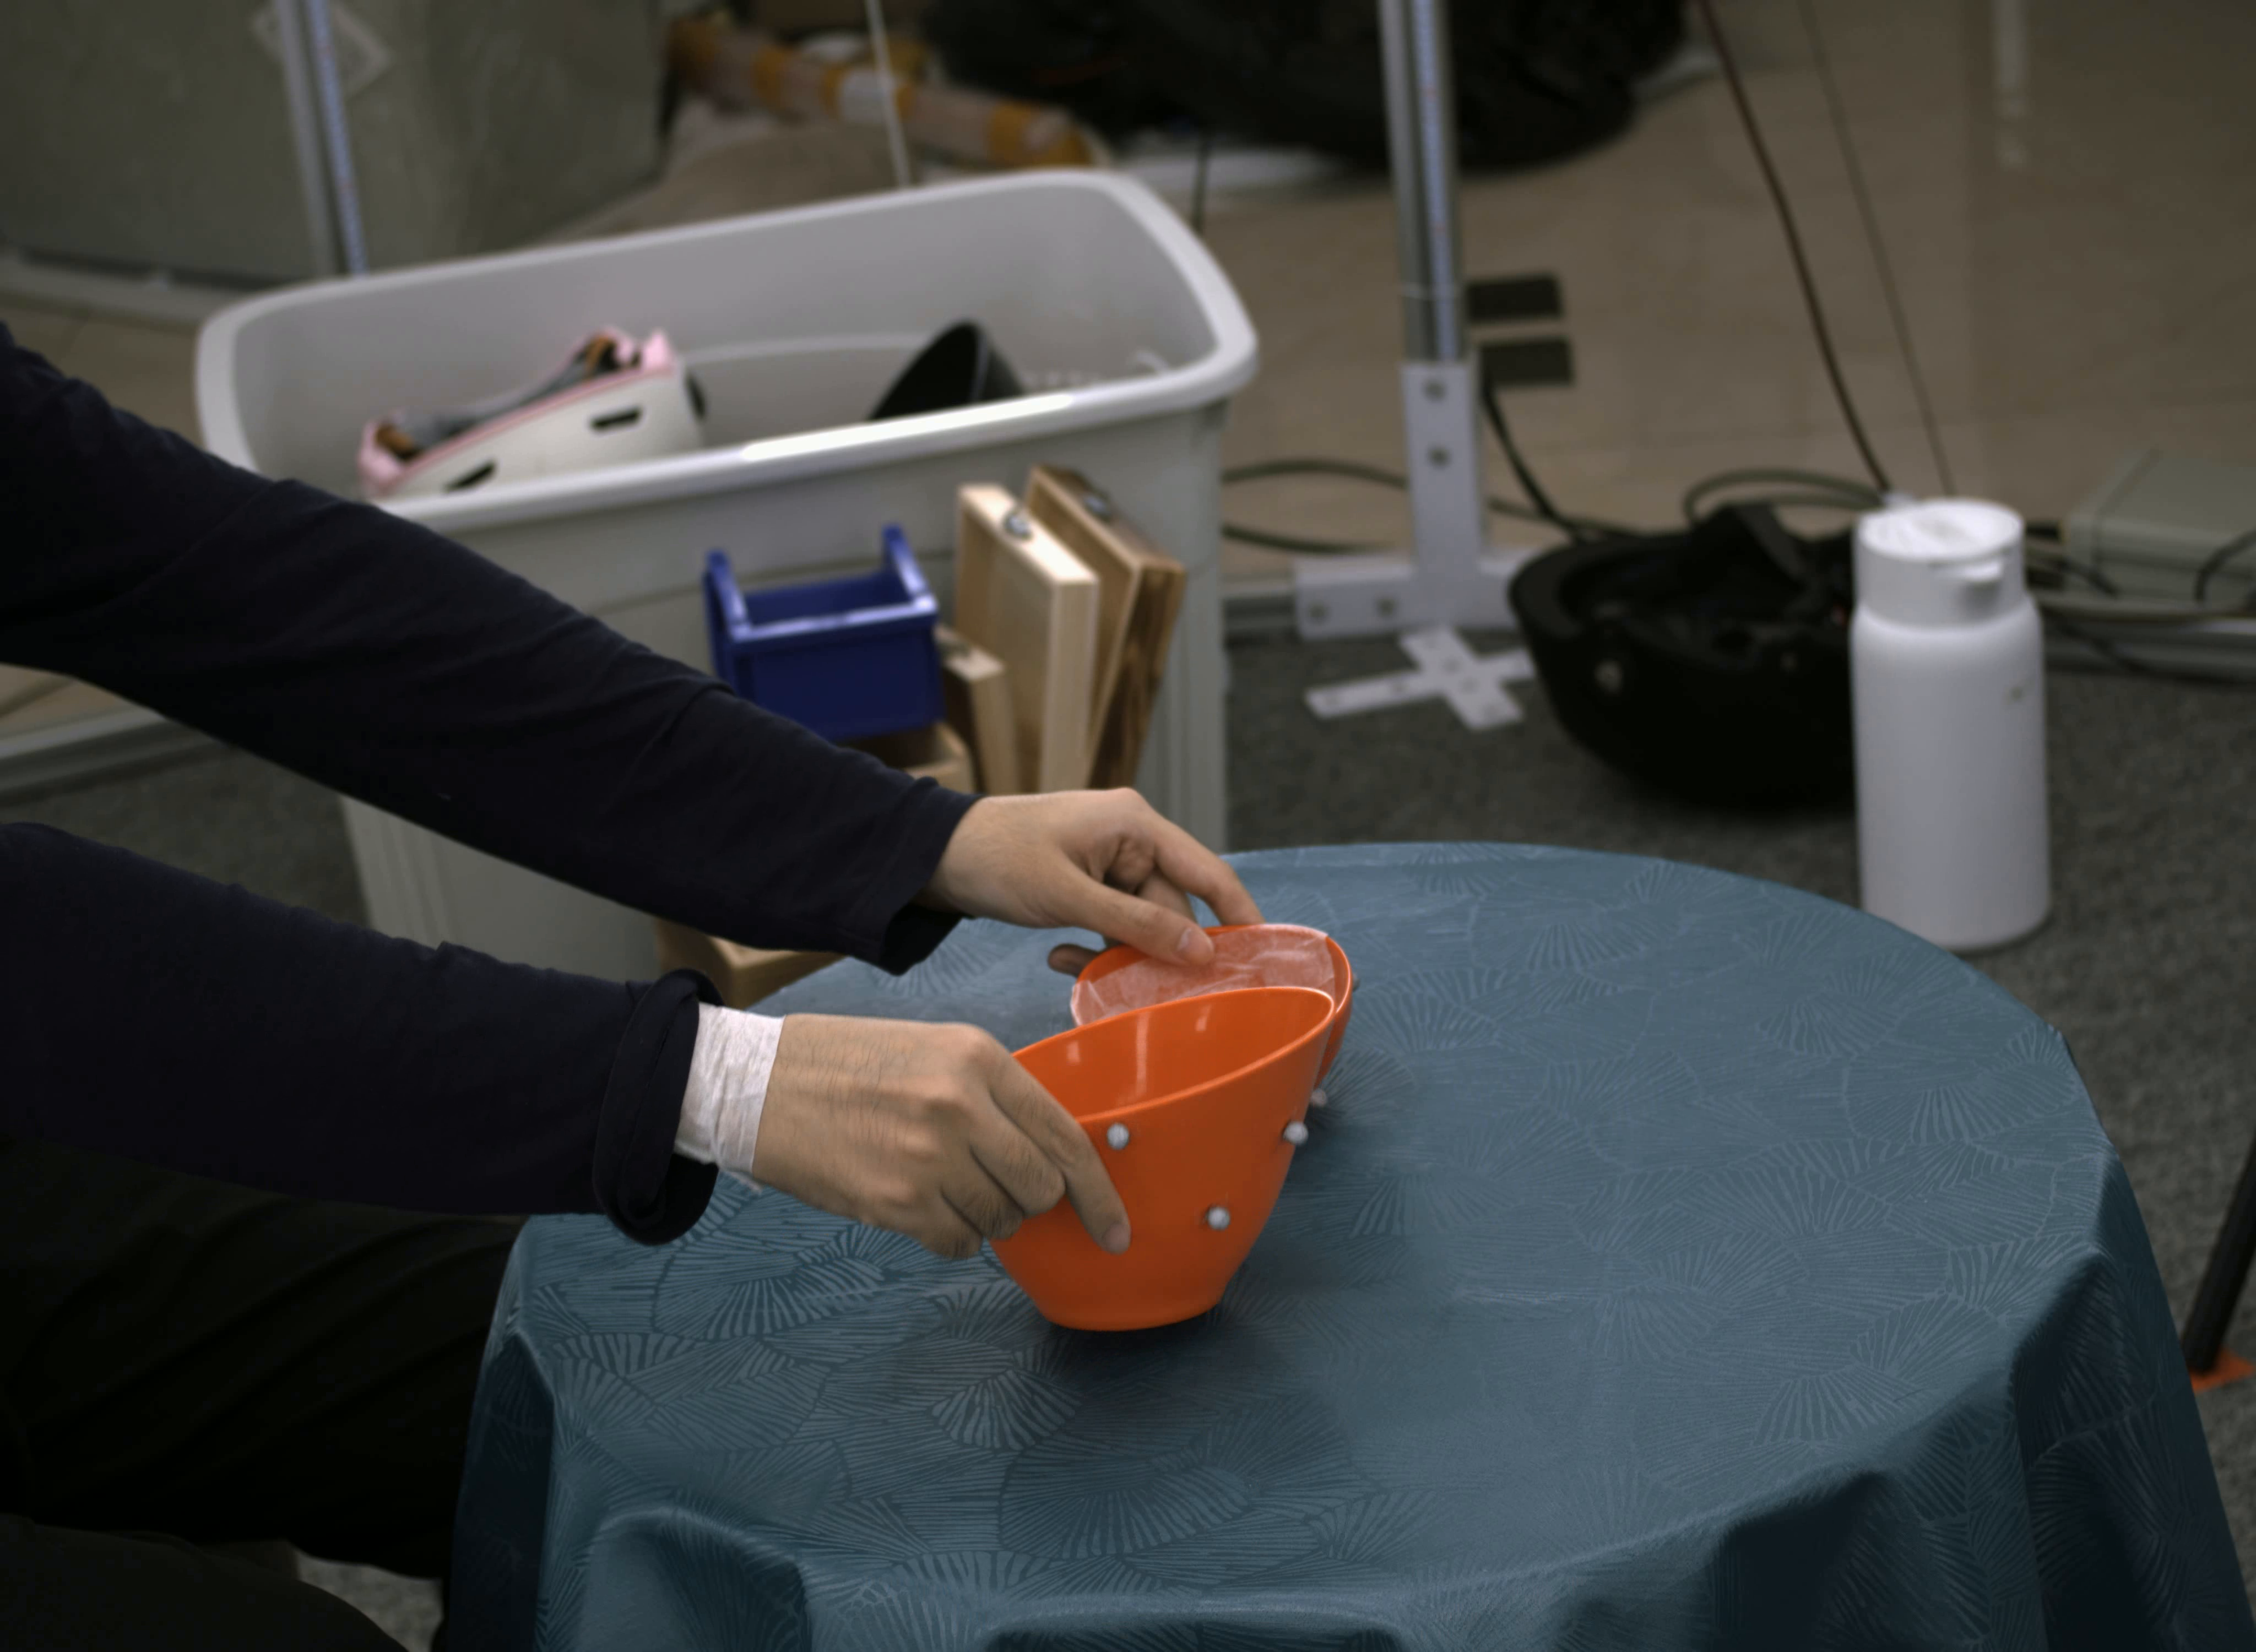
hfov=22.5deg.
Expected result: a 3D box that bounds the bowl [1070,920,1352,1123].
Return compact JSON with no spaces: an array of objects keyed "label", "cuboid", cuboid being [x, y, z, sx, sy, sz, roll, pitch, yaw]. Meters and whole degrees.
[{"label":"bowl","cuboid":[0.034,0.085,2.201,0.119,0.052,0.117,-6,27,3]}]

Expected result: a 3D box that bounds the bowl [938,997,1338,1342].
[{"label":"bowl","cuboid":[0.007,0.126,2.045,0.148,0.106,0.146,-6,14,2]}]
